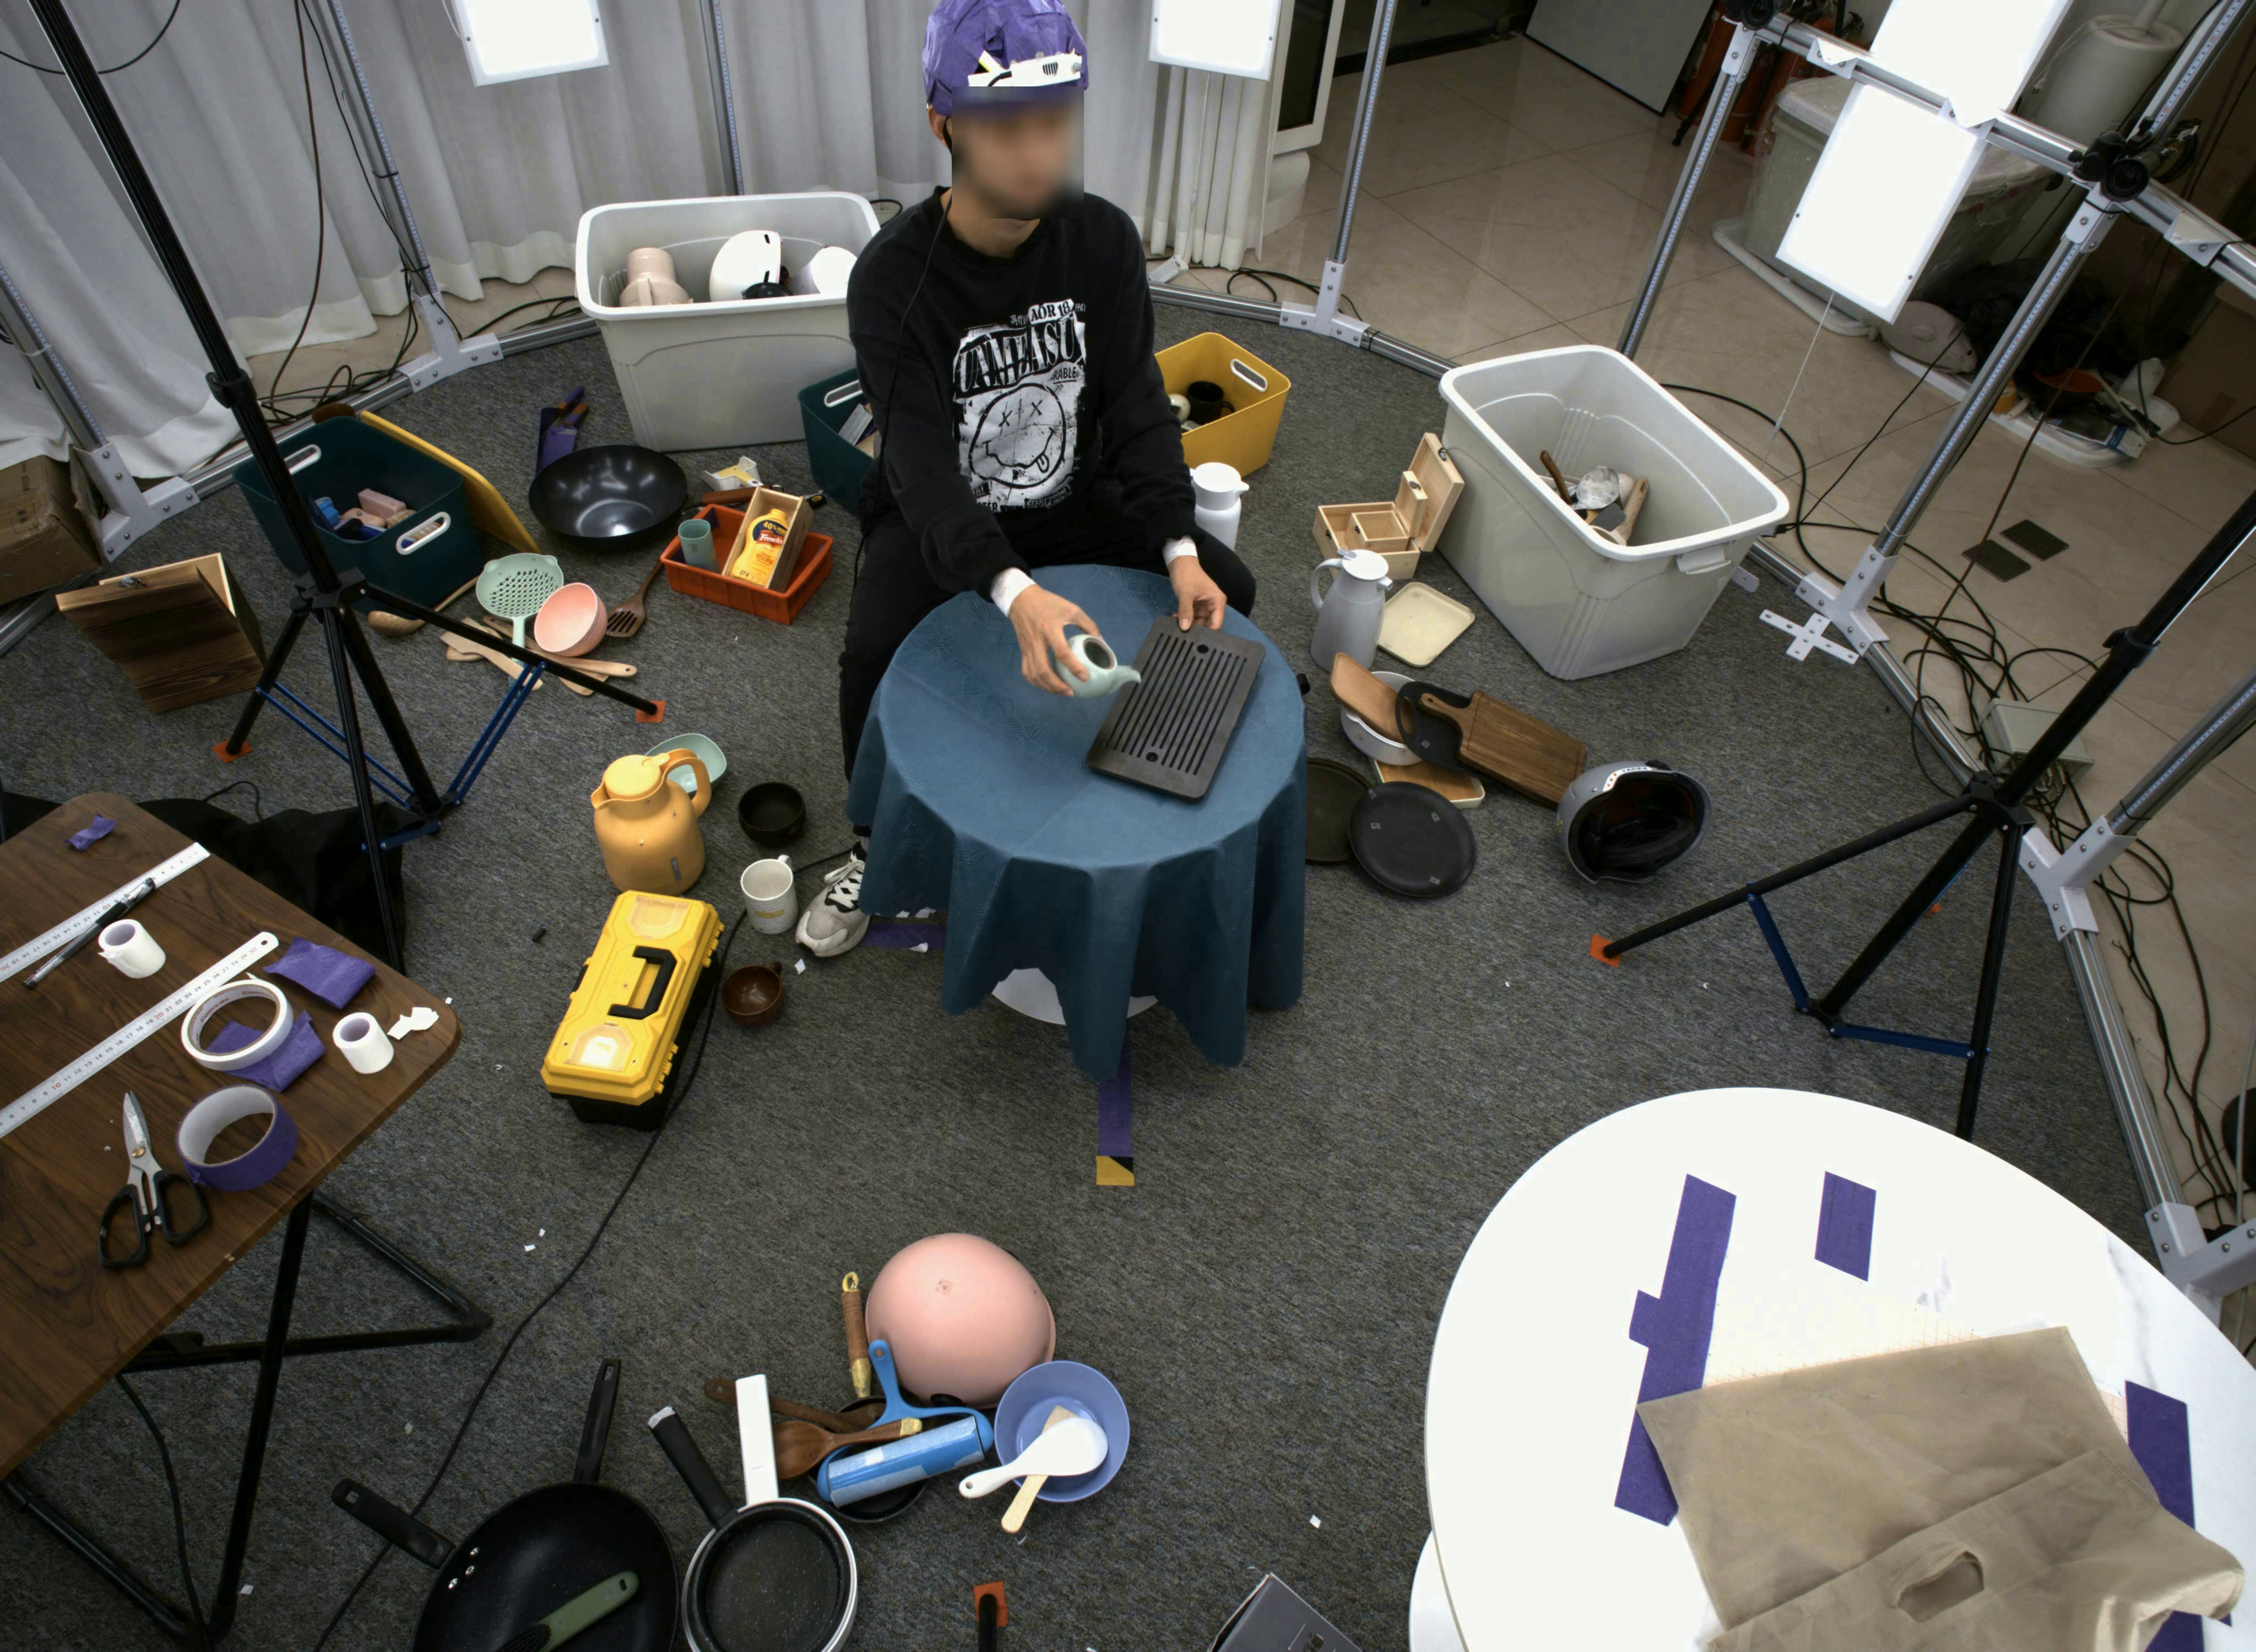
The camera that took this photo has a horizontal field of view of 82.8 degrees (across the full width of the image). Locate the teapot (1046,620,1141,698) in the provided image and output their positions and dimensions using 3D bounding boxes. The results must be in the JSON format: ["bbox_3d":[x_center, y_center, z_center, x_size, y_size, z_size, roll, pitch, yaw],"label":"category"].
[{"bbox_3d":[-0.056,-0.214,1.708,0.142,0.074,0.090,35,38,-24],"label":"teapot"}]

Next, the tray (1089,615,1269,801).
[{"bbox_3d":[0.075,-0.169,1.796,0.171,0.018,0.312,17,54,11],"label":"tray"}]
